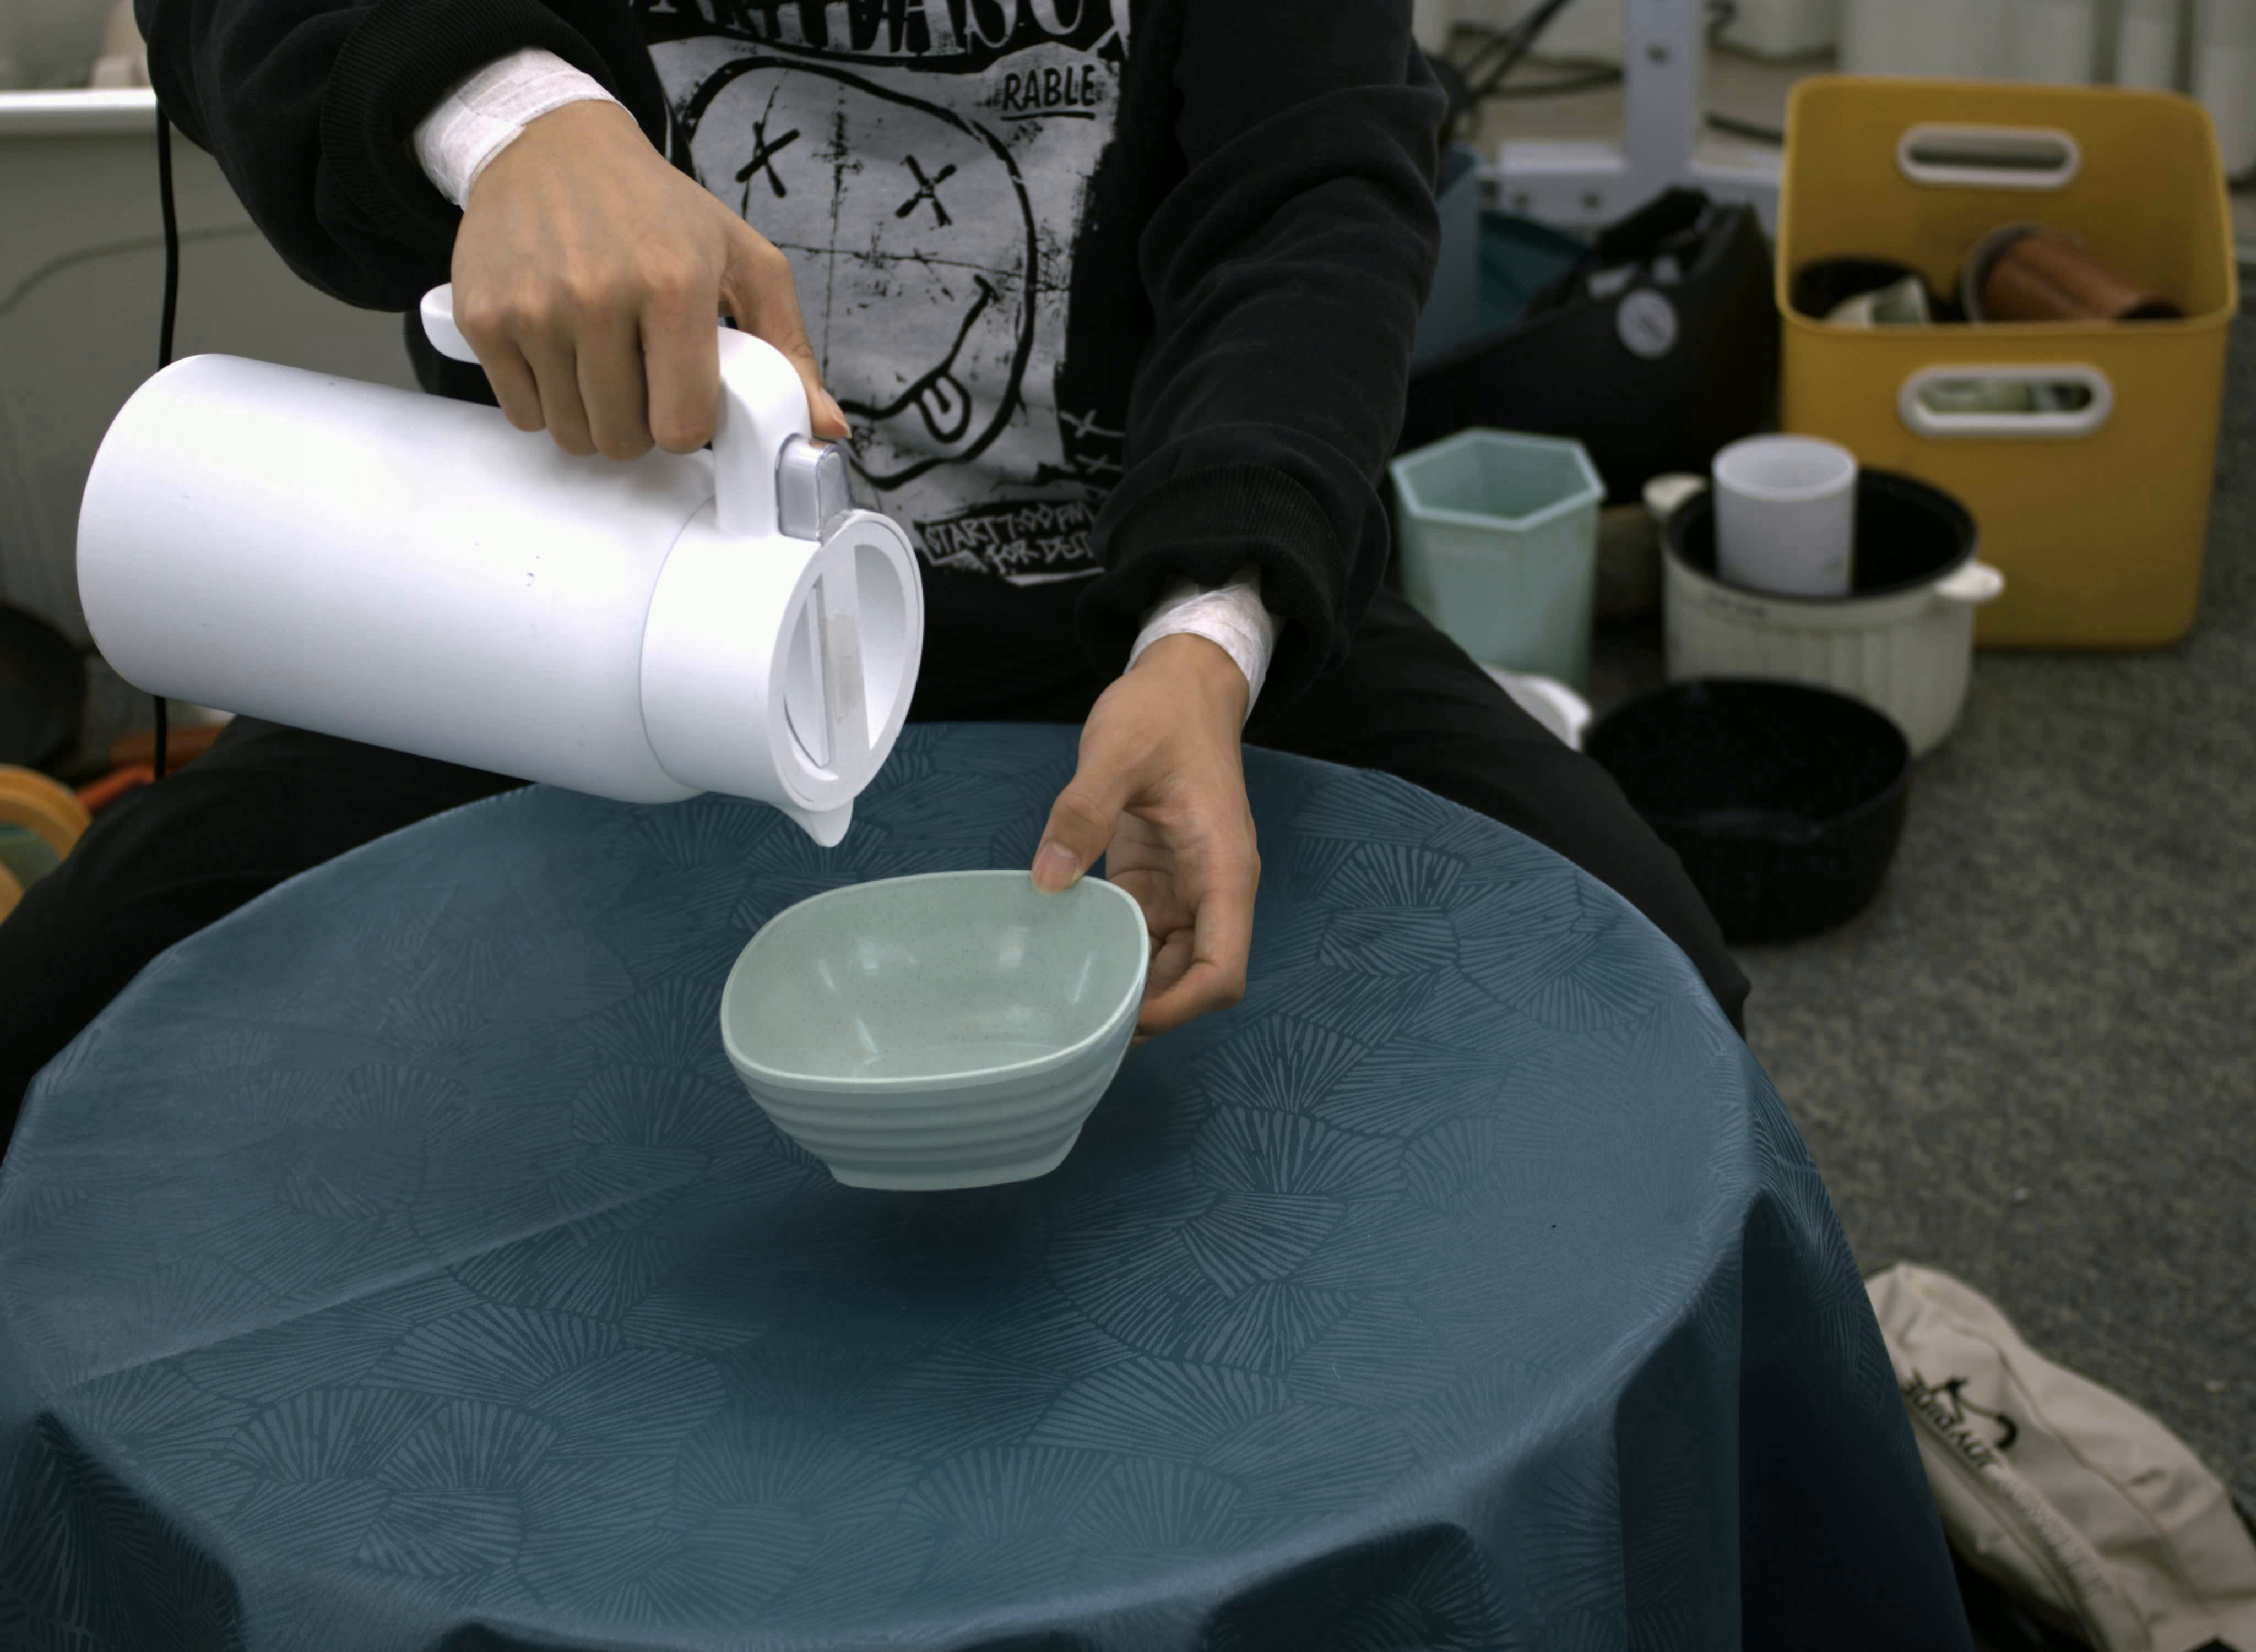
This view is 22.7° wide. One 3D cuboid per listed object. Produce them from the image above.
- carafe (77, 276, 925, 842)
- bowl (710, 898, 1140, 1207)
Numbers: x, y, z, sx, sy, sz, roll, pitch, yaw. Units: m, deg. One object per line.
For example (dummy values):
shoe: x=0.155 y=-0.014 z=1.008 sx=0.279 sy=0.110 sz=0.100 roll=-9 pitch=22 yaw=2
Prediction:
carafe: x=-0.205 y=-0.093 z=1.823 sx=0.267 sy=0.171 sz=0.126 roll=13 pitch=33 yaw=27
bowl: x=-0.062 y=0.078 z=1.815 sx=0.150 sy=0.058 sz=0.153 roll=-6 pitch=22 yaw=3
